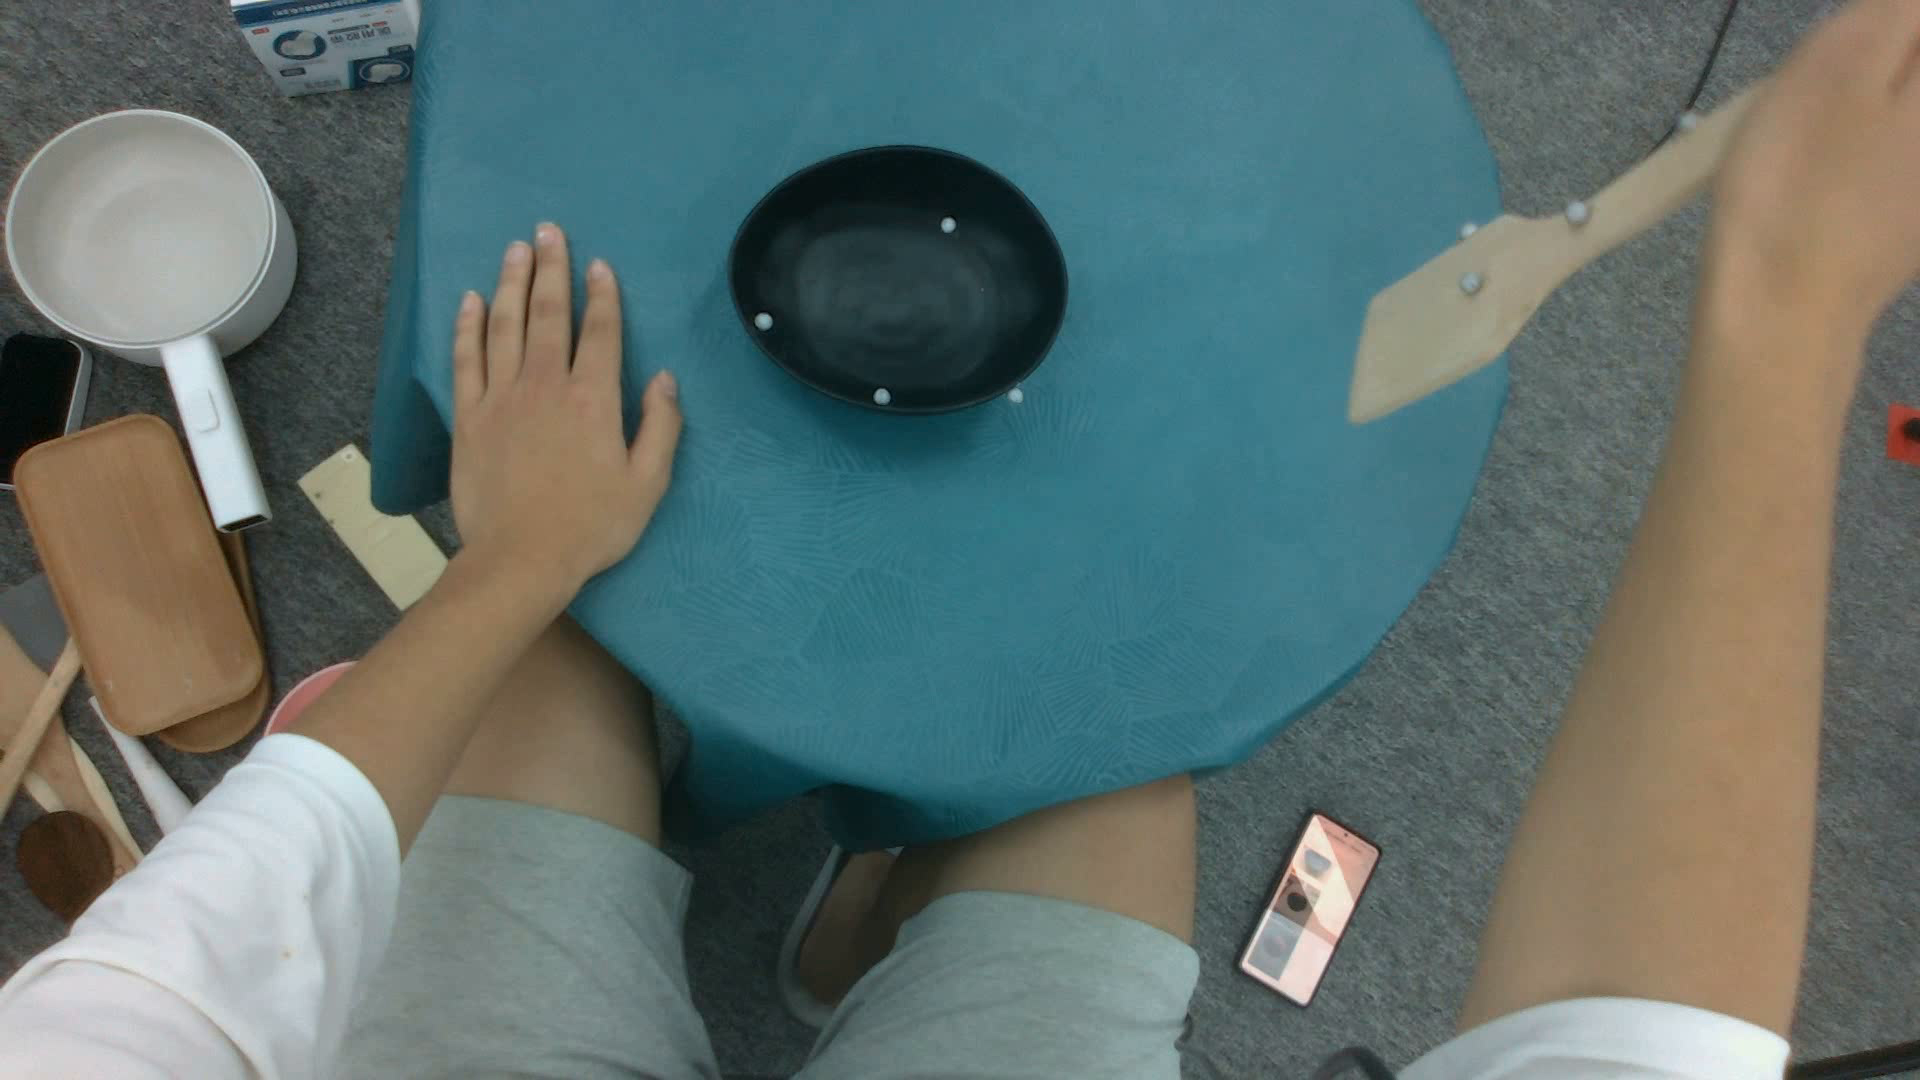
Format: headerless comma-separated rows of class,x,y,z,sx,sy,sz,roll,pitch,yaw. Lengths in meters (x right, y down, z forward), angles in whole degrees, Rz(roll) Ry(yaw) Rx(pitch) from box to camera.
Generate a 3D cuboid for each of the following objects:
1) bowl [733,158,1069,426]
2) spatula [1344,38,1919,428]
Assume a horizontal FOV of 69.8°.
bowl,-0.031,-0.121,0.715,0.170,0.066,0.137,0,81,-7
spatula,0.251,-0.117,0.516,0.010,0.292,0.072,27,64,-19
